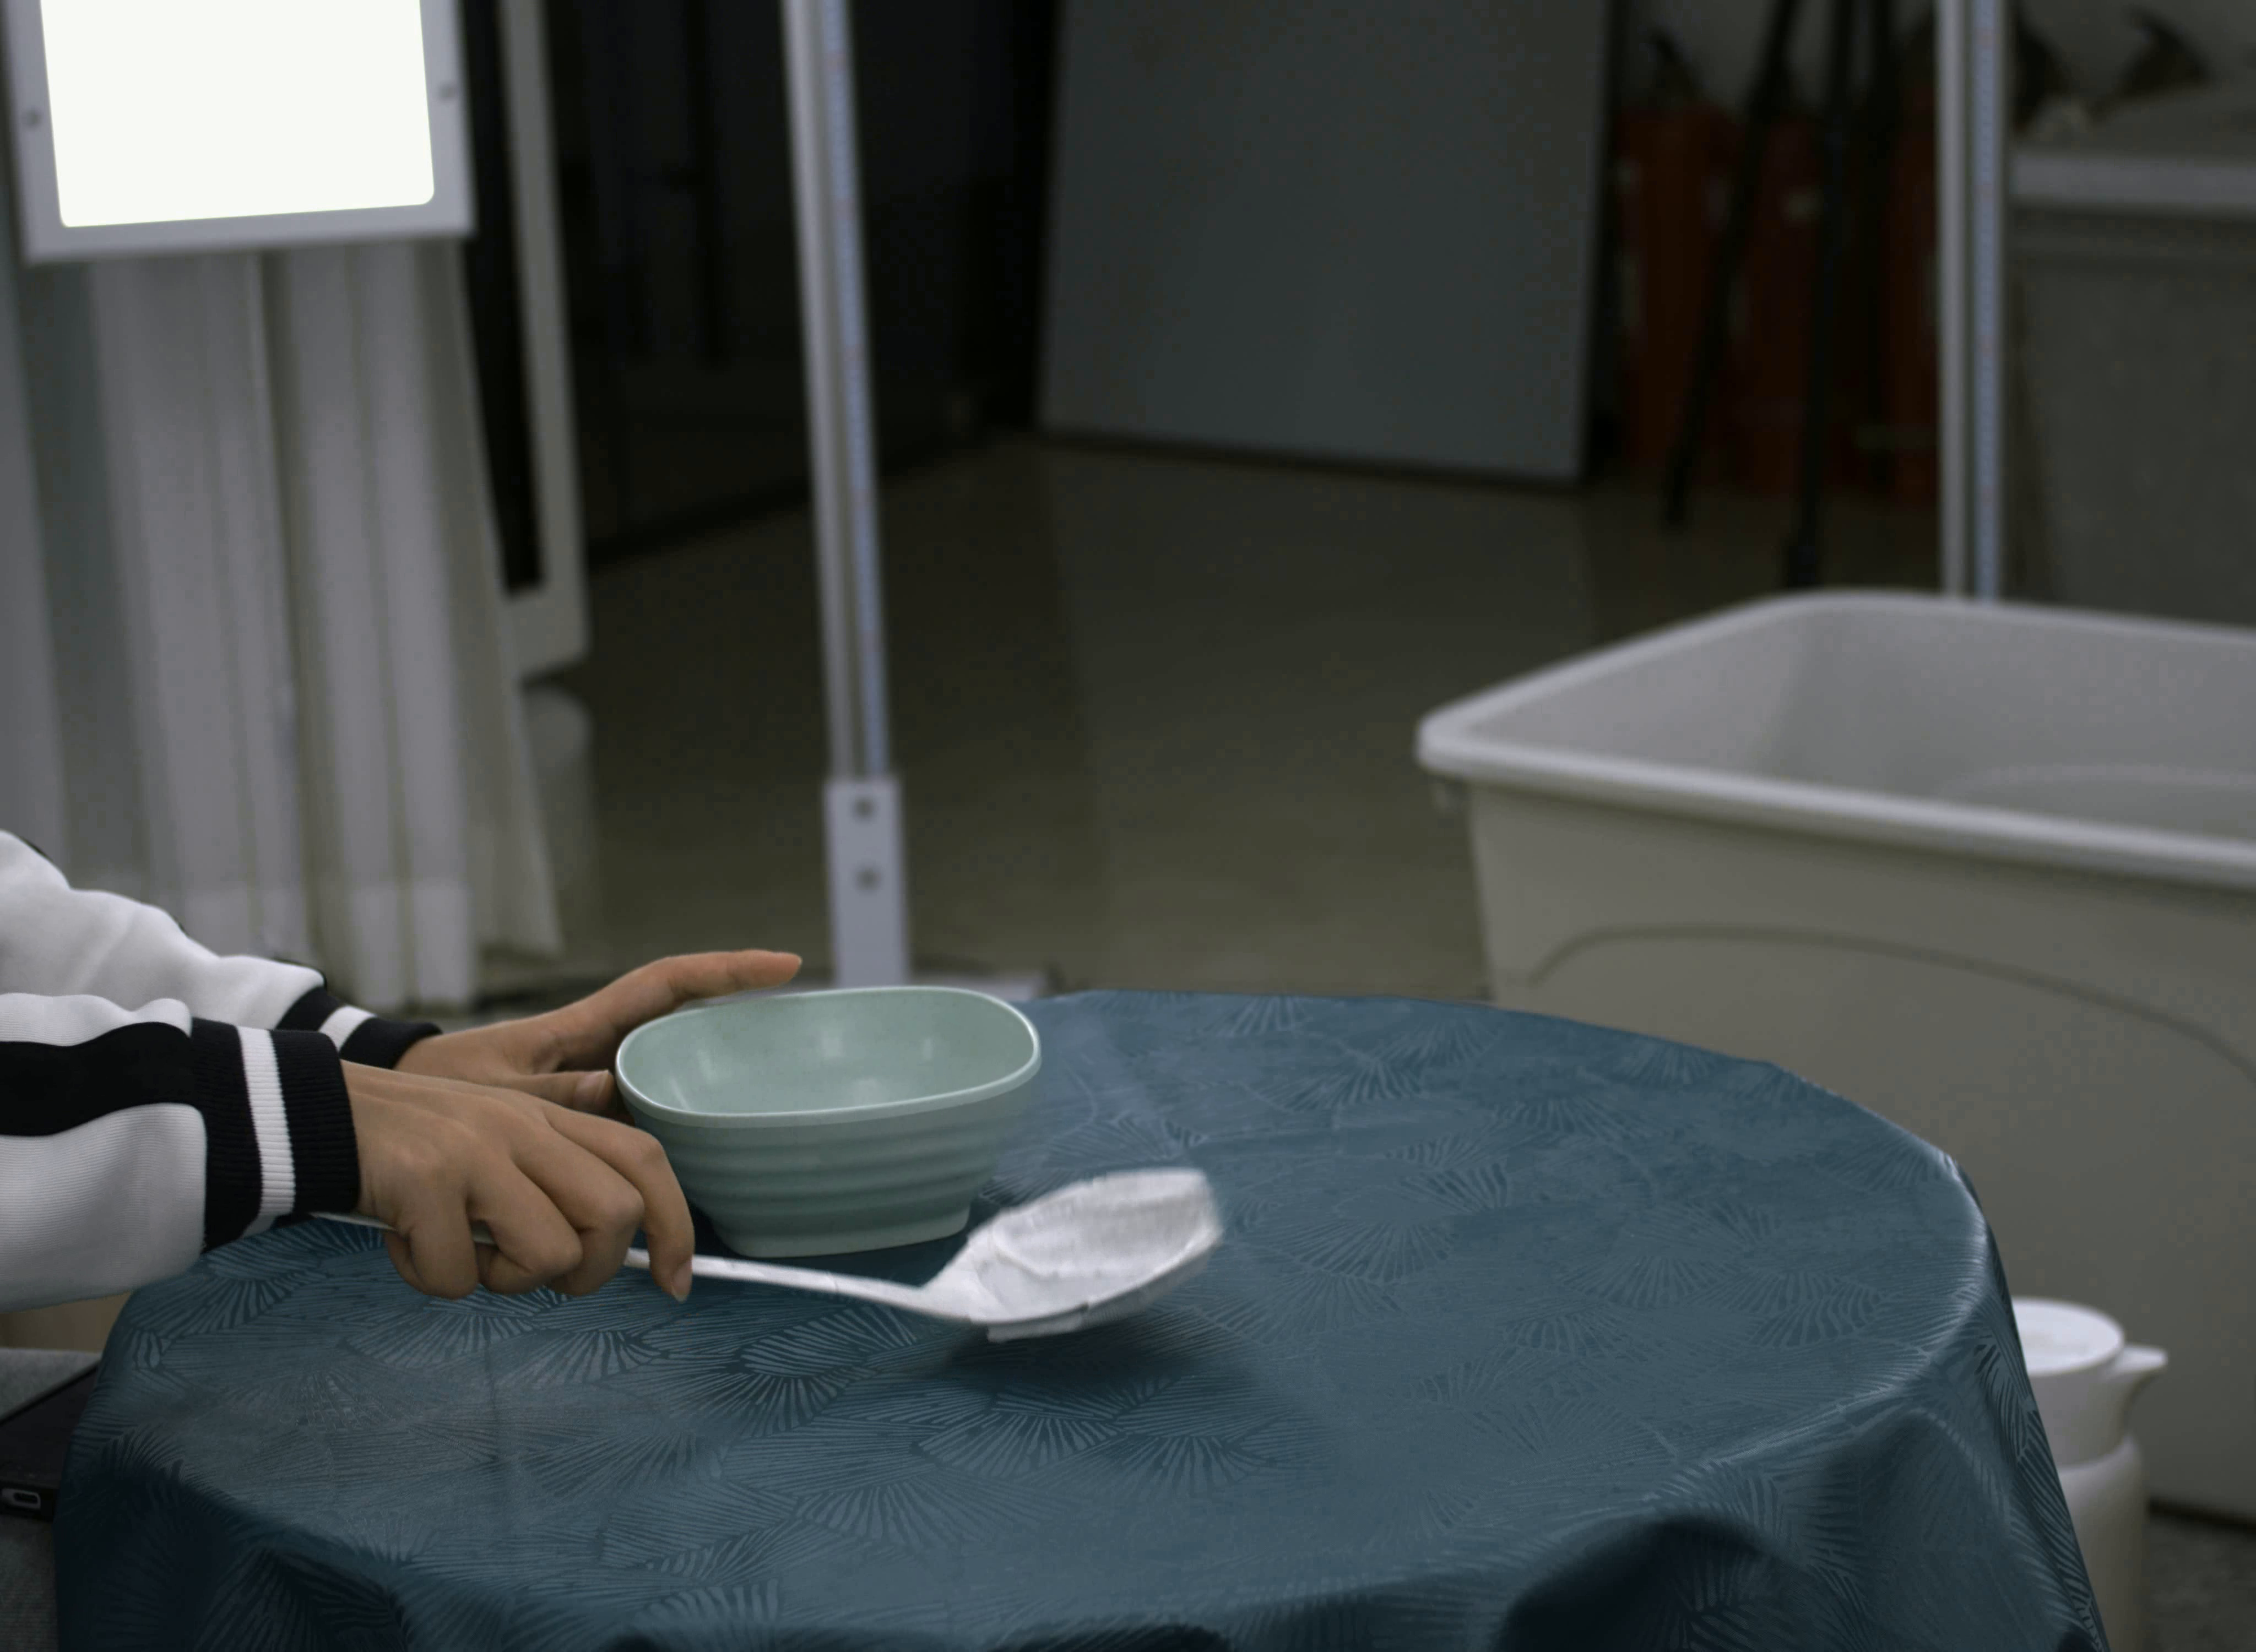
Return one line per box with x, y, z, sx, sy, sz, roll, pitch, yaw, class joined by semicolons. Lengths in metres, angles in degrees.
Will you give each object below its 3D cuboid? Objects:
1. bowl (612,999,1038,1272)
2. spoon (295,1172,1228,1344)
-0.097;0.104;1.761;0.149;0.059;0.152;-4;14;0;bowl
-0.107;0.108;1.605;0.272;0.060;0.101;13;3;-13;spoon
